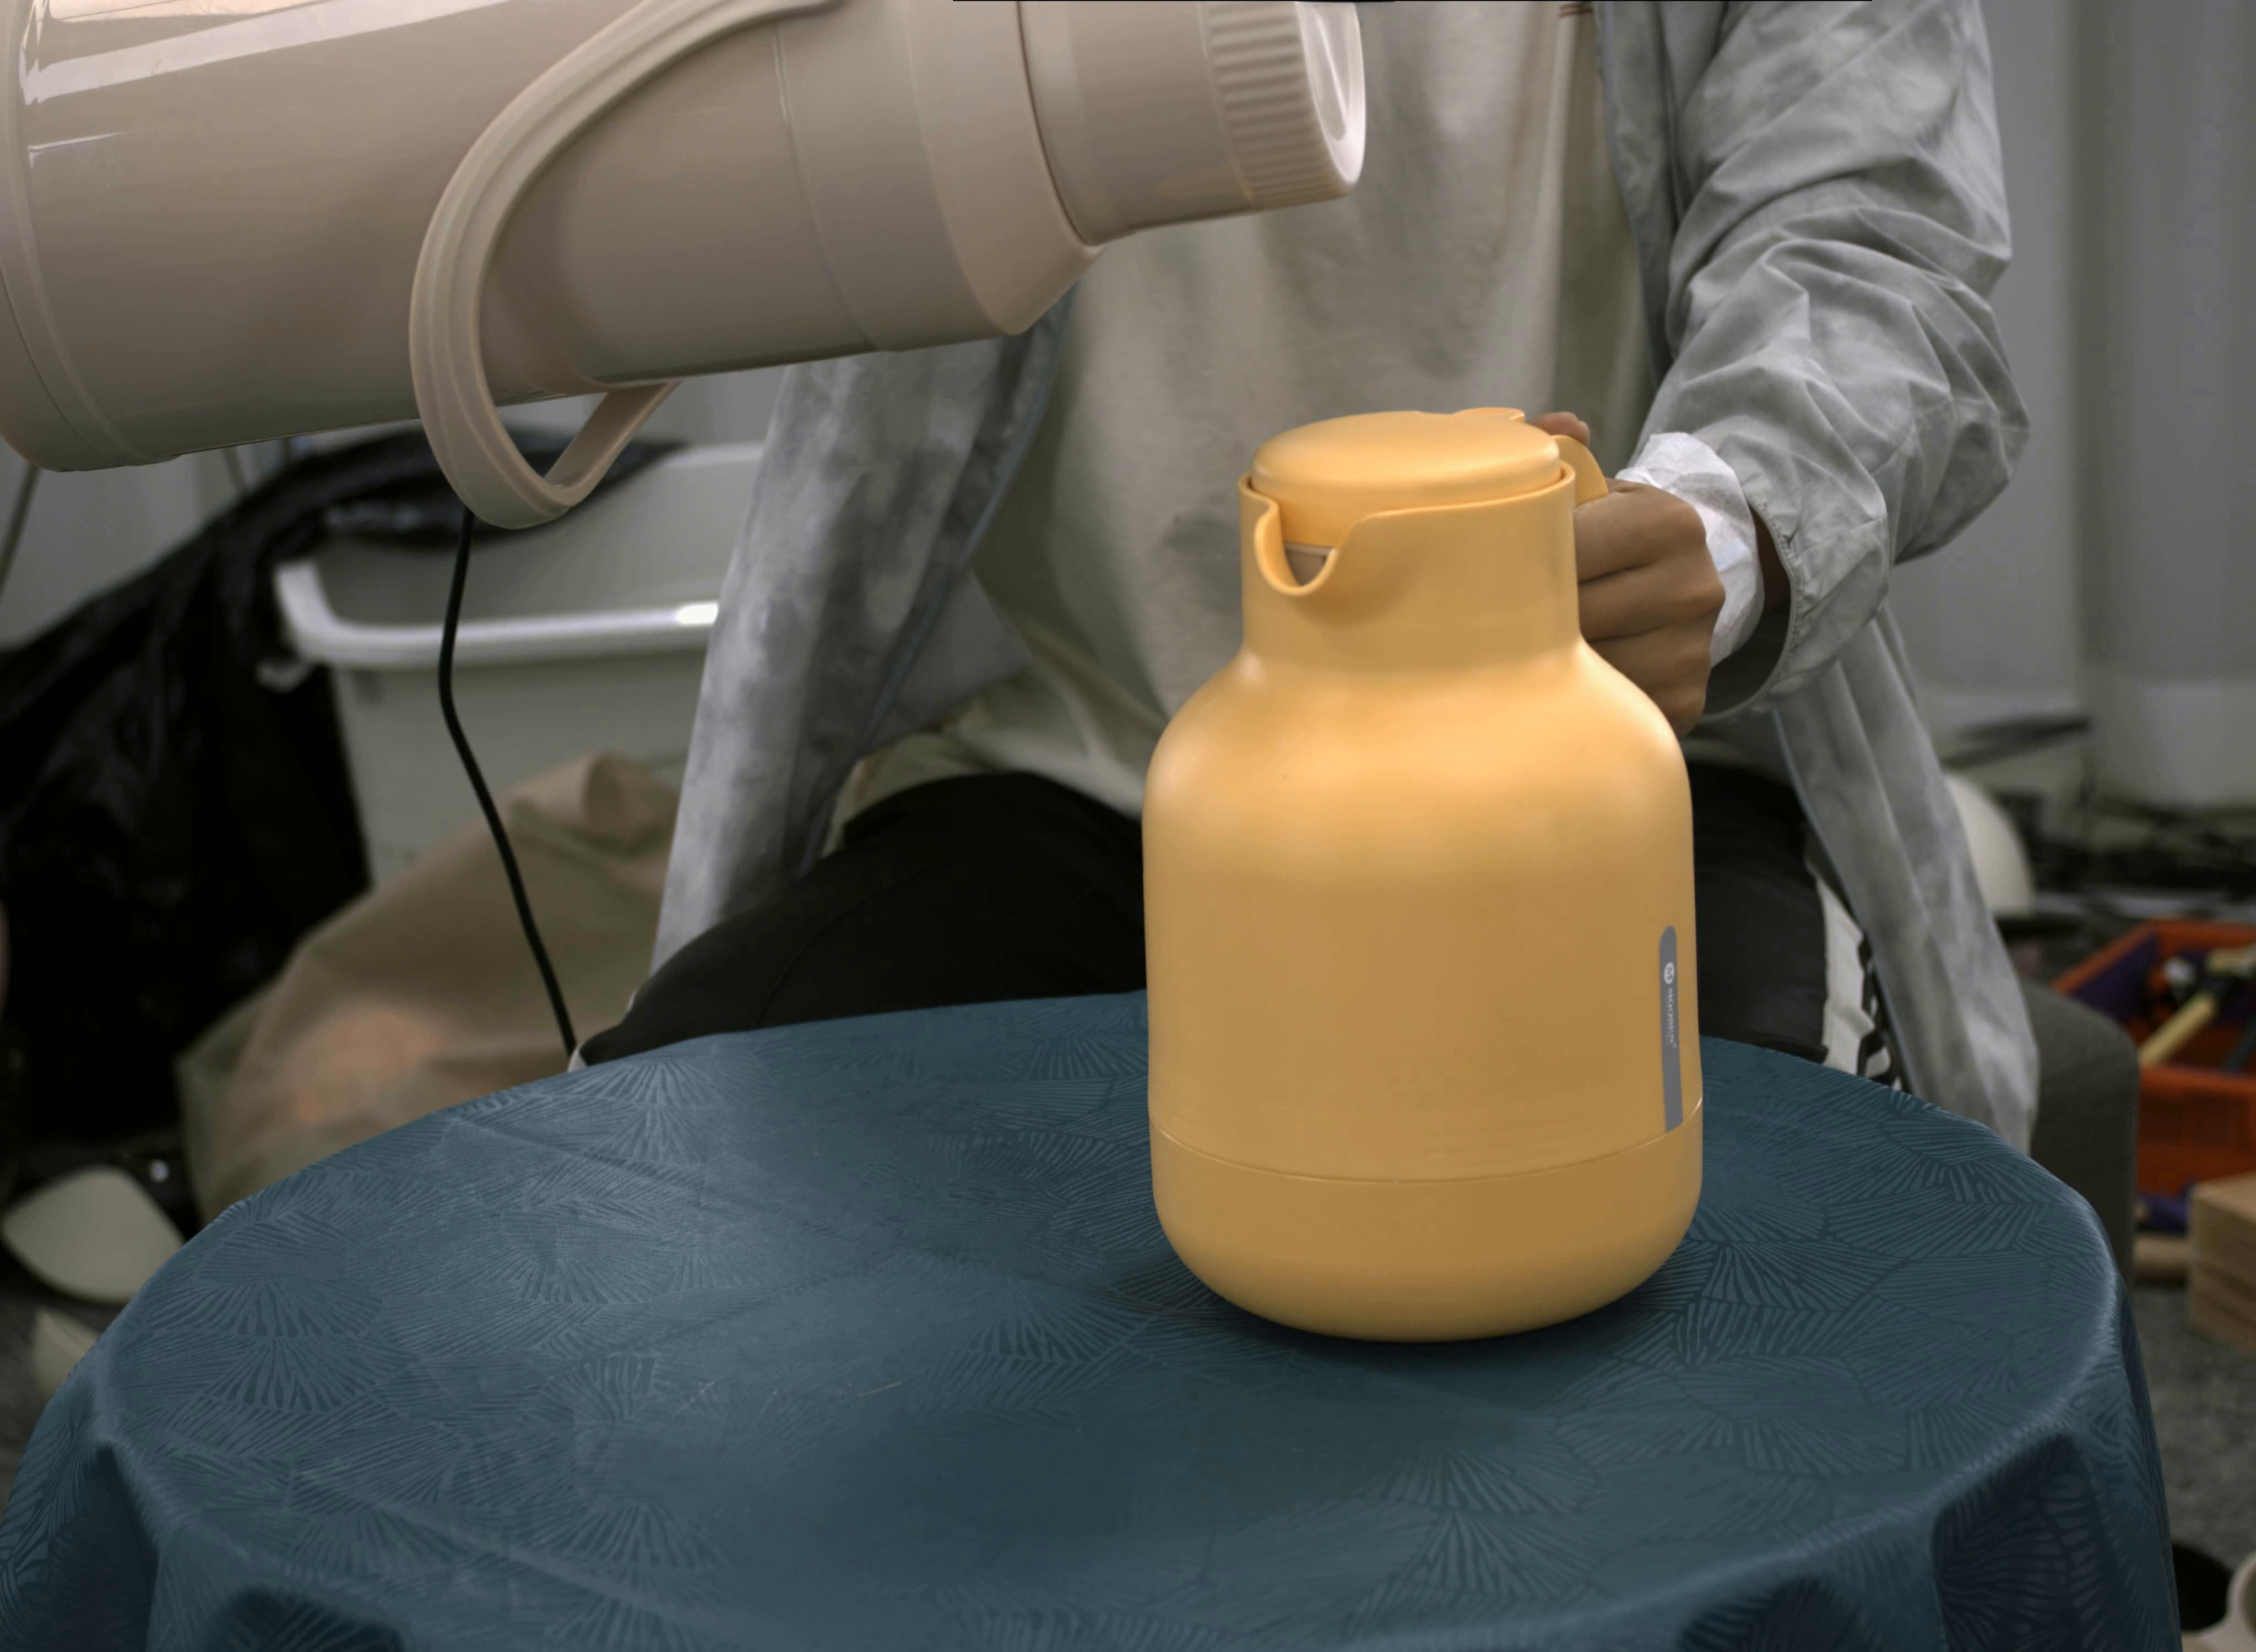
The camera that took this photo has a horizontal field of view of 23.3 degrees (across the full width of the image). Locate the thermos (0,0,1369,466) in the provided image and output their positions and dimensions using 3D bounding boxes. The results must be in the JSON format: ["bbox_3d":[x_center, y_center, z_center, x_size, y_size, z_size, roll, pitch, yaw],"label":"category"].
[{"bbox_3d":[-0.138,-0.221,1.606,0.405,0.209,0.173,-7,-18,14],"label":"thermos"}]

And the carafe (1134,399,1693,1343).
[{"bbox_3d":[0.093,0.005,1.610,0.164,0.259,0.202,8,18,30],"label":"carafe"}]
